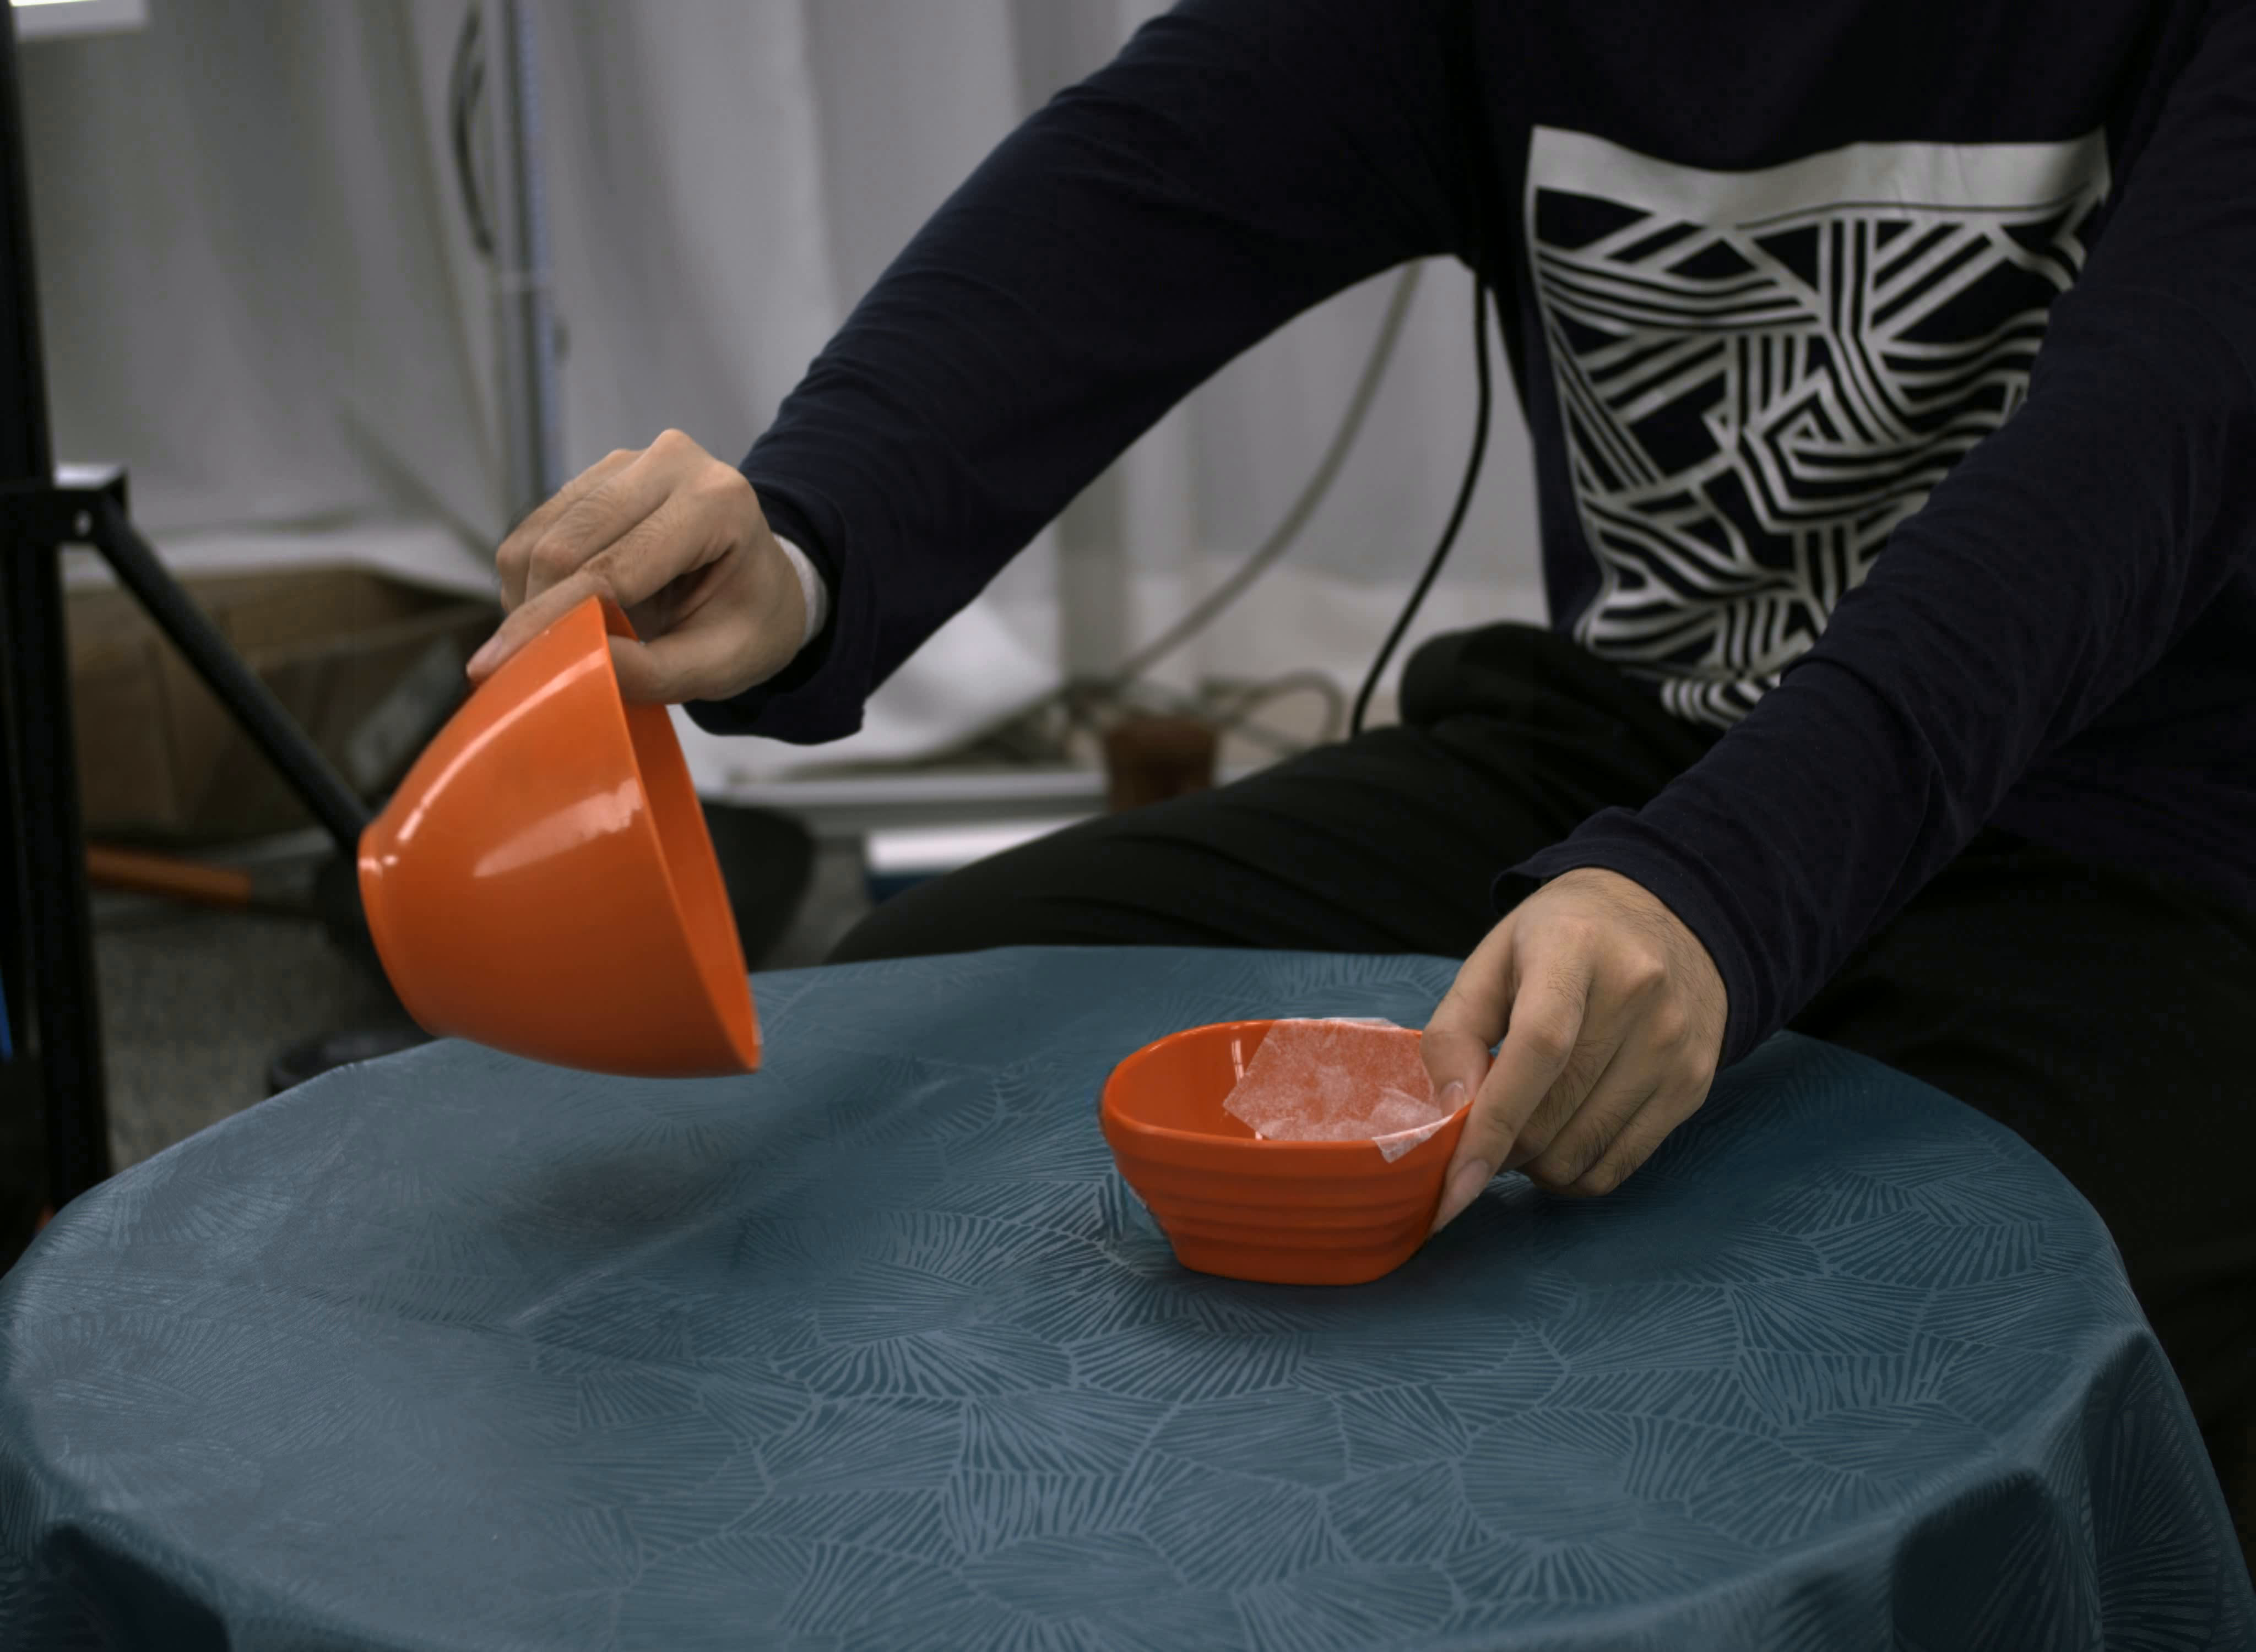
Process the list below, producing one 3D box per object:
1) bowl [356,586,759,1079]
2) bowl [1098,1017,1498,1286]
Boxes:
[{"bbox_3d":[-0.168,0.014,1.555,0.105,0.147,0.148,-20,13,10],"label":"bowl"},{"bbox_3d":[0.050,0.095,1.506,0.118,0.051,0.119,-4,16,0],"label":"bowl"}]
